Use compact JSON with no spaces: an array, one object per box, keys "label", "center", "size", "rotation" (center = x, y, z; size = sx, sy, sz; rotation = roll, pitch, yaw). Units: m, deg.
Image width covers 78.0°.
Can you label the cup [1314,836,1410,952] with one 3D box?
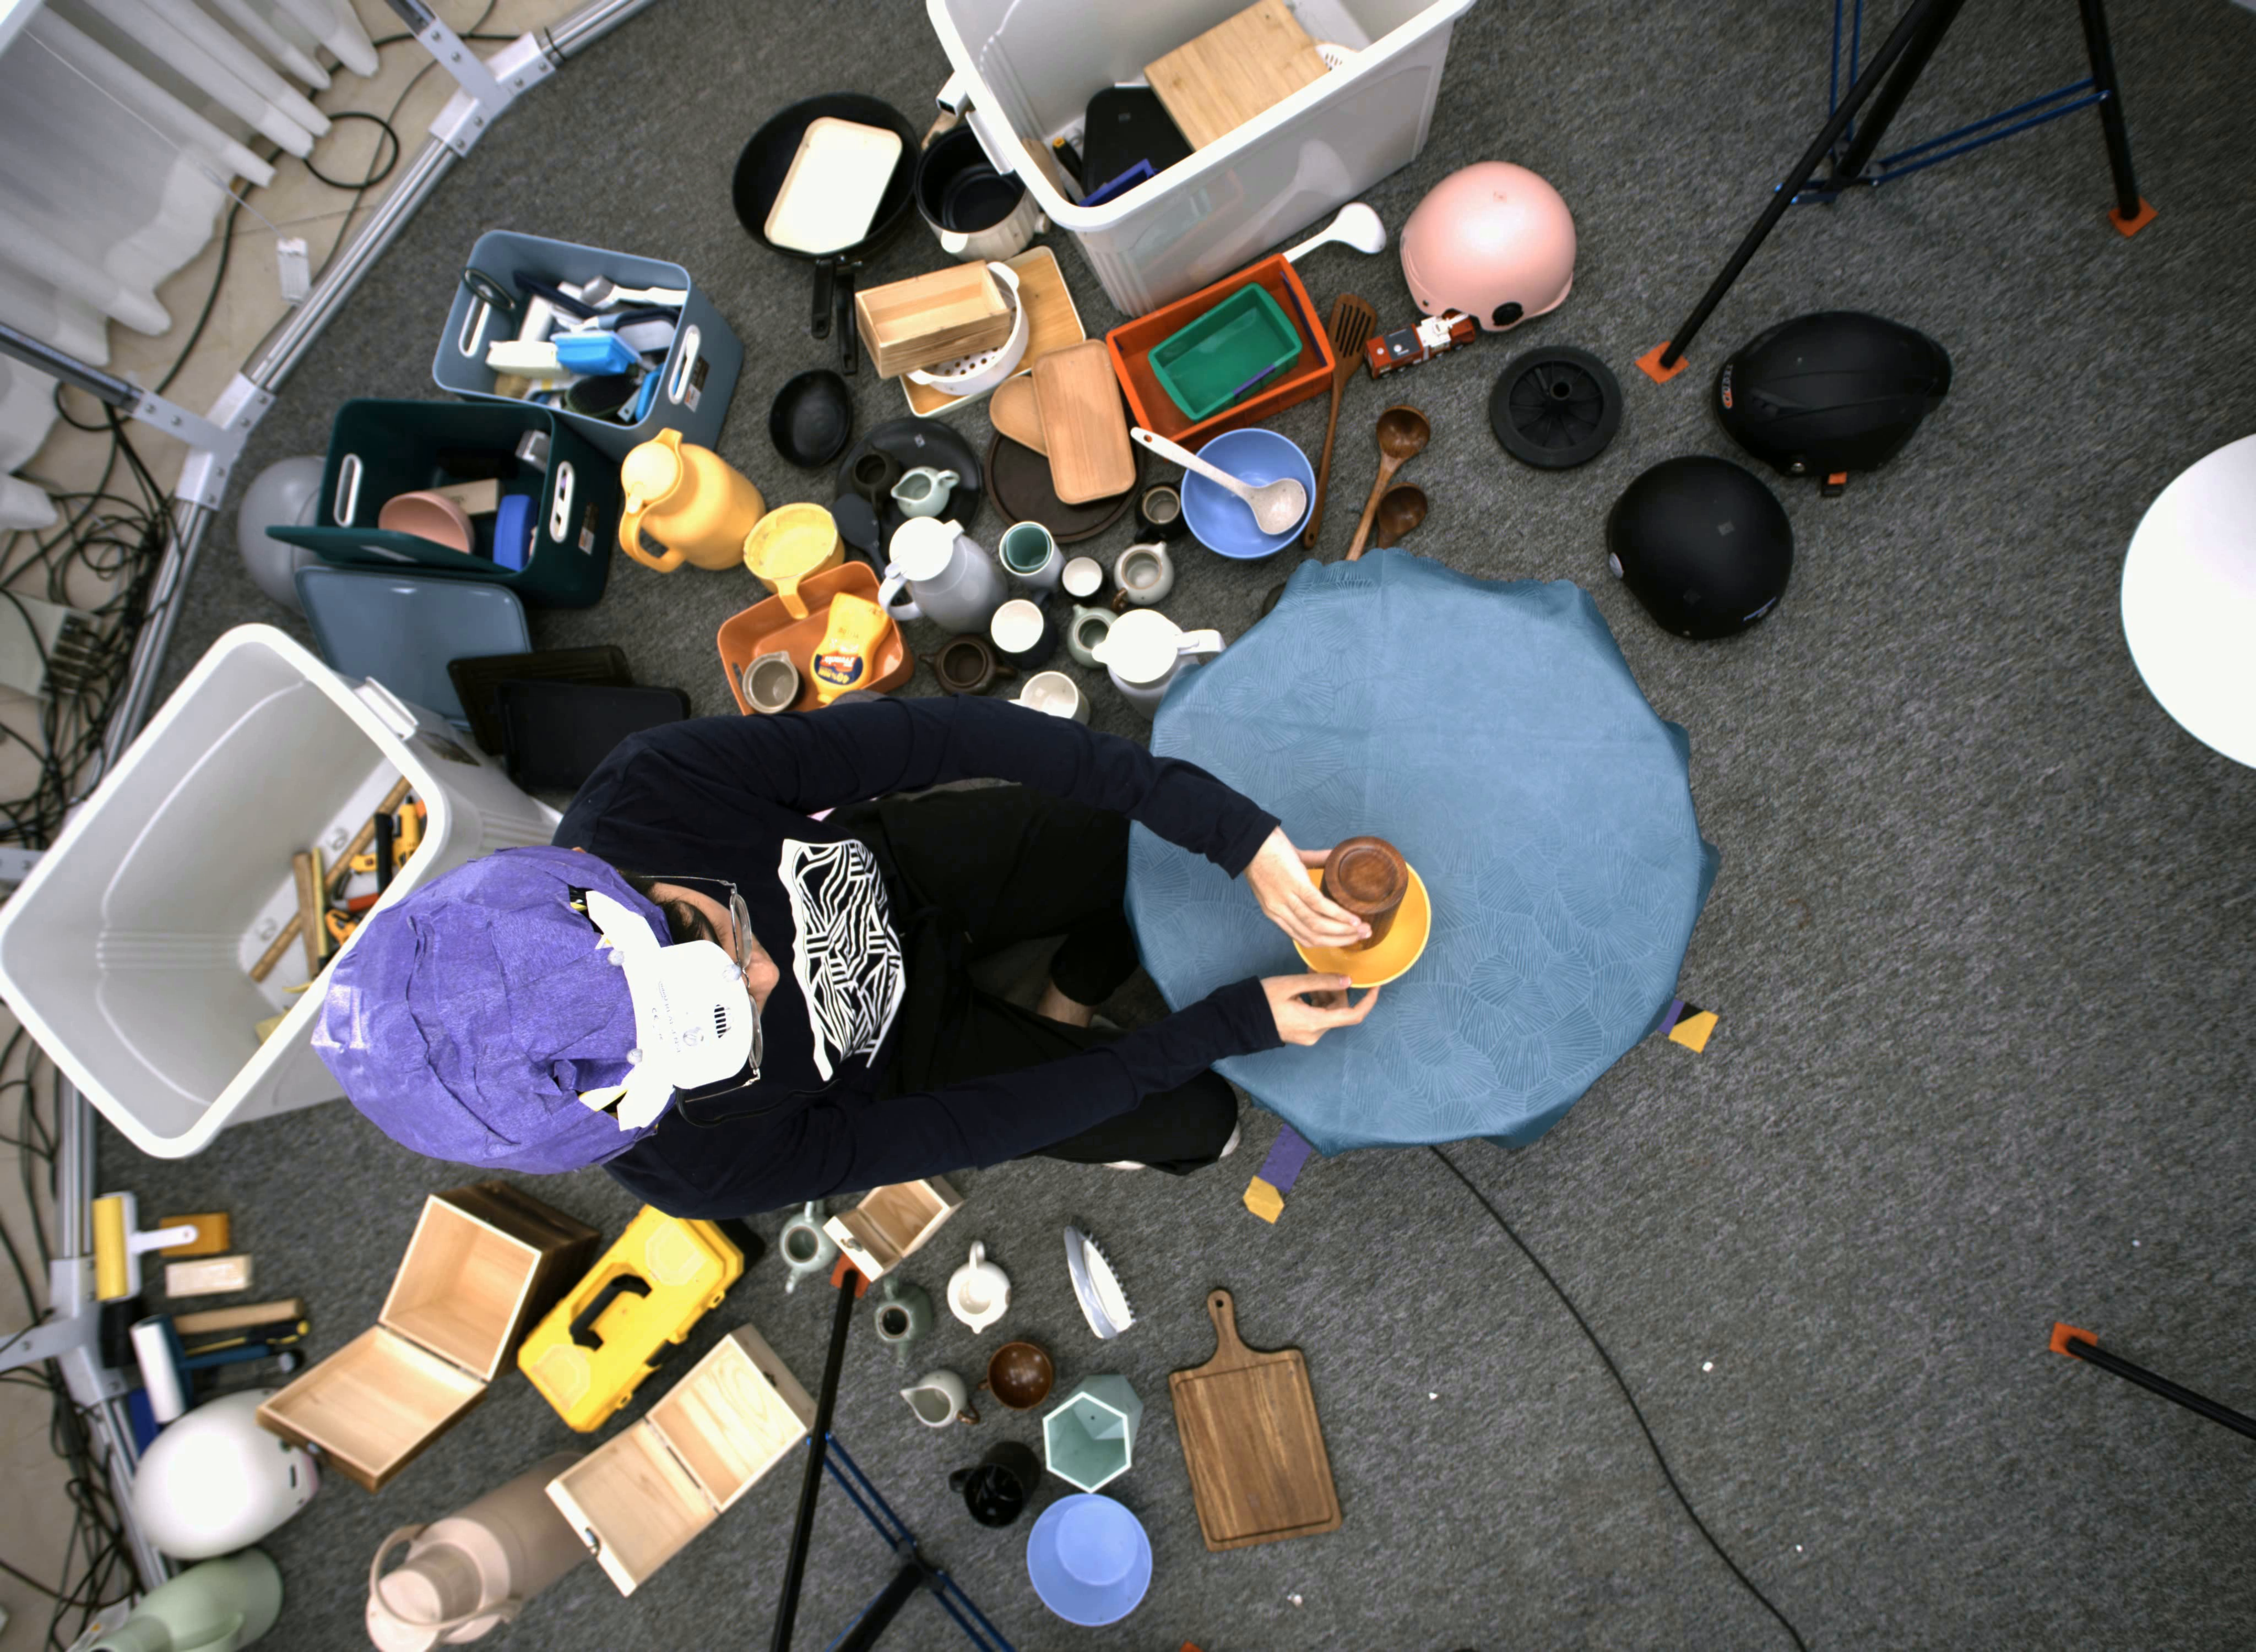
[{"label":"cup","center":[0.226,0.066,1.345],"size":[0.088,0.120,0.086],"rotation":[-1,68,1]}]

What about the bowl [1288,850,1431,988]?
[{"label":"bowl","center":[0.240,0.094,1.433],"size":[0.146,0.060,0.144],"rotation":[-1,86,12]}]
